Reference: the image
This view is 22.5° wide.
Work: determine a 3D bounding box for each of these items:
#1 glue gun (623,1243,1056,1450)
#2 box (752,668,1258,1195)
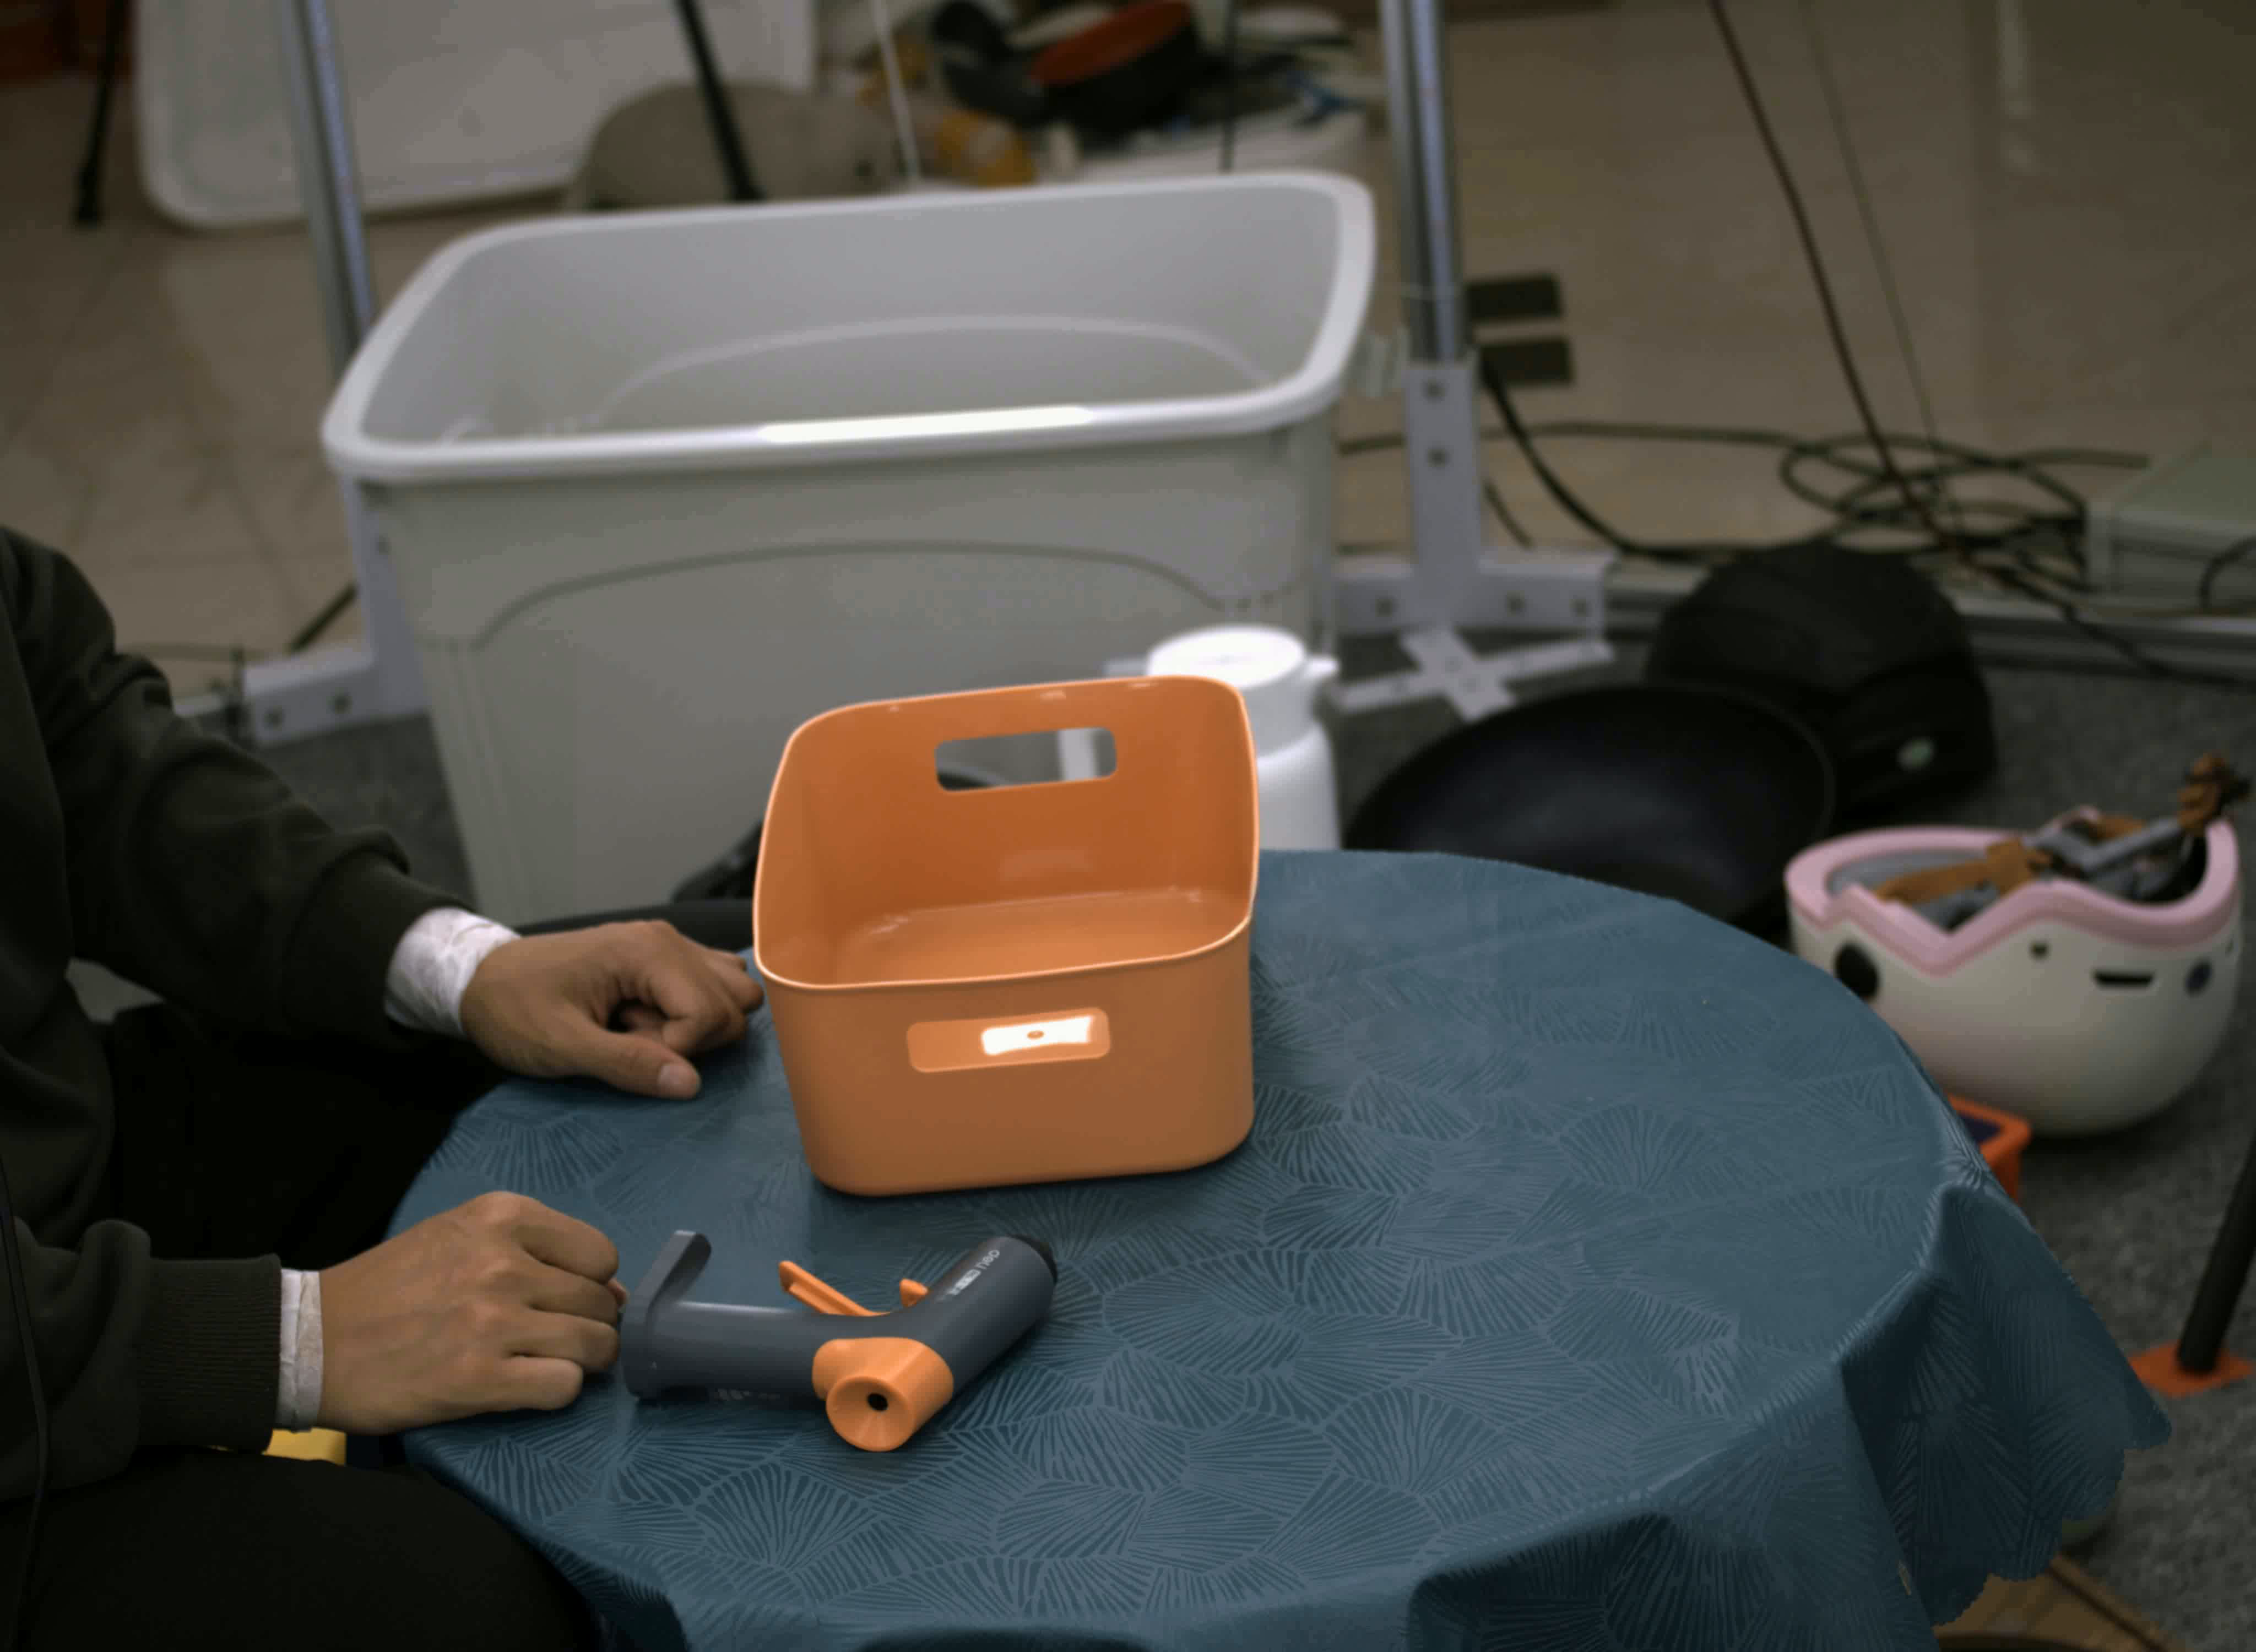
[{"bbox_3d":[-0.103,0.181,2.047,0.139,0.041,0.116,3,24,14],"label":"glue gun"},{"bbox_3d":[-0.043,0.042,2.243,0.199,0.104,0.269,-5,26,2],"label":"box"}]
